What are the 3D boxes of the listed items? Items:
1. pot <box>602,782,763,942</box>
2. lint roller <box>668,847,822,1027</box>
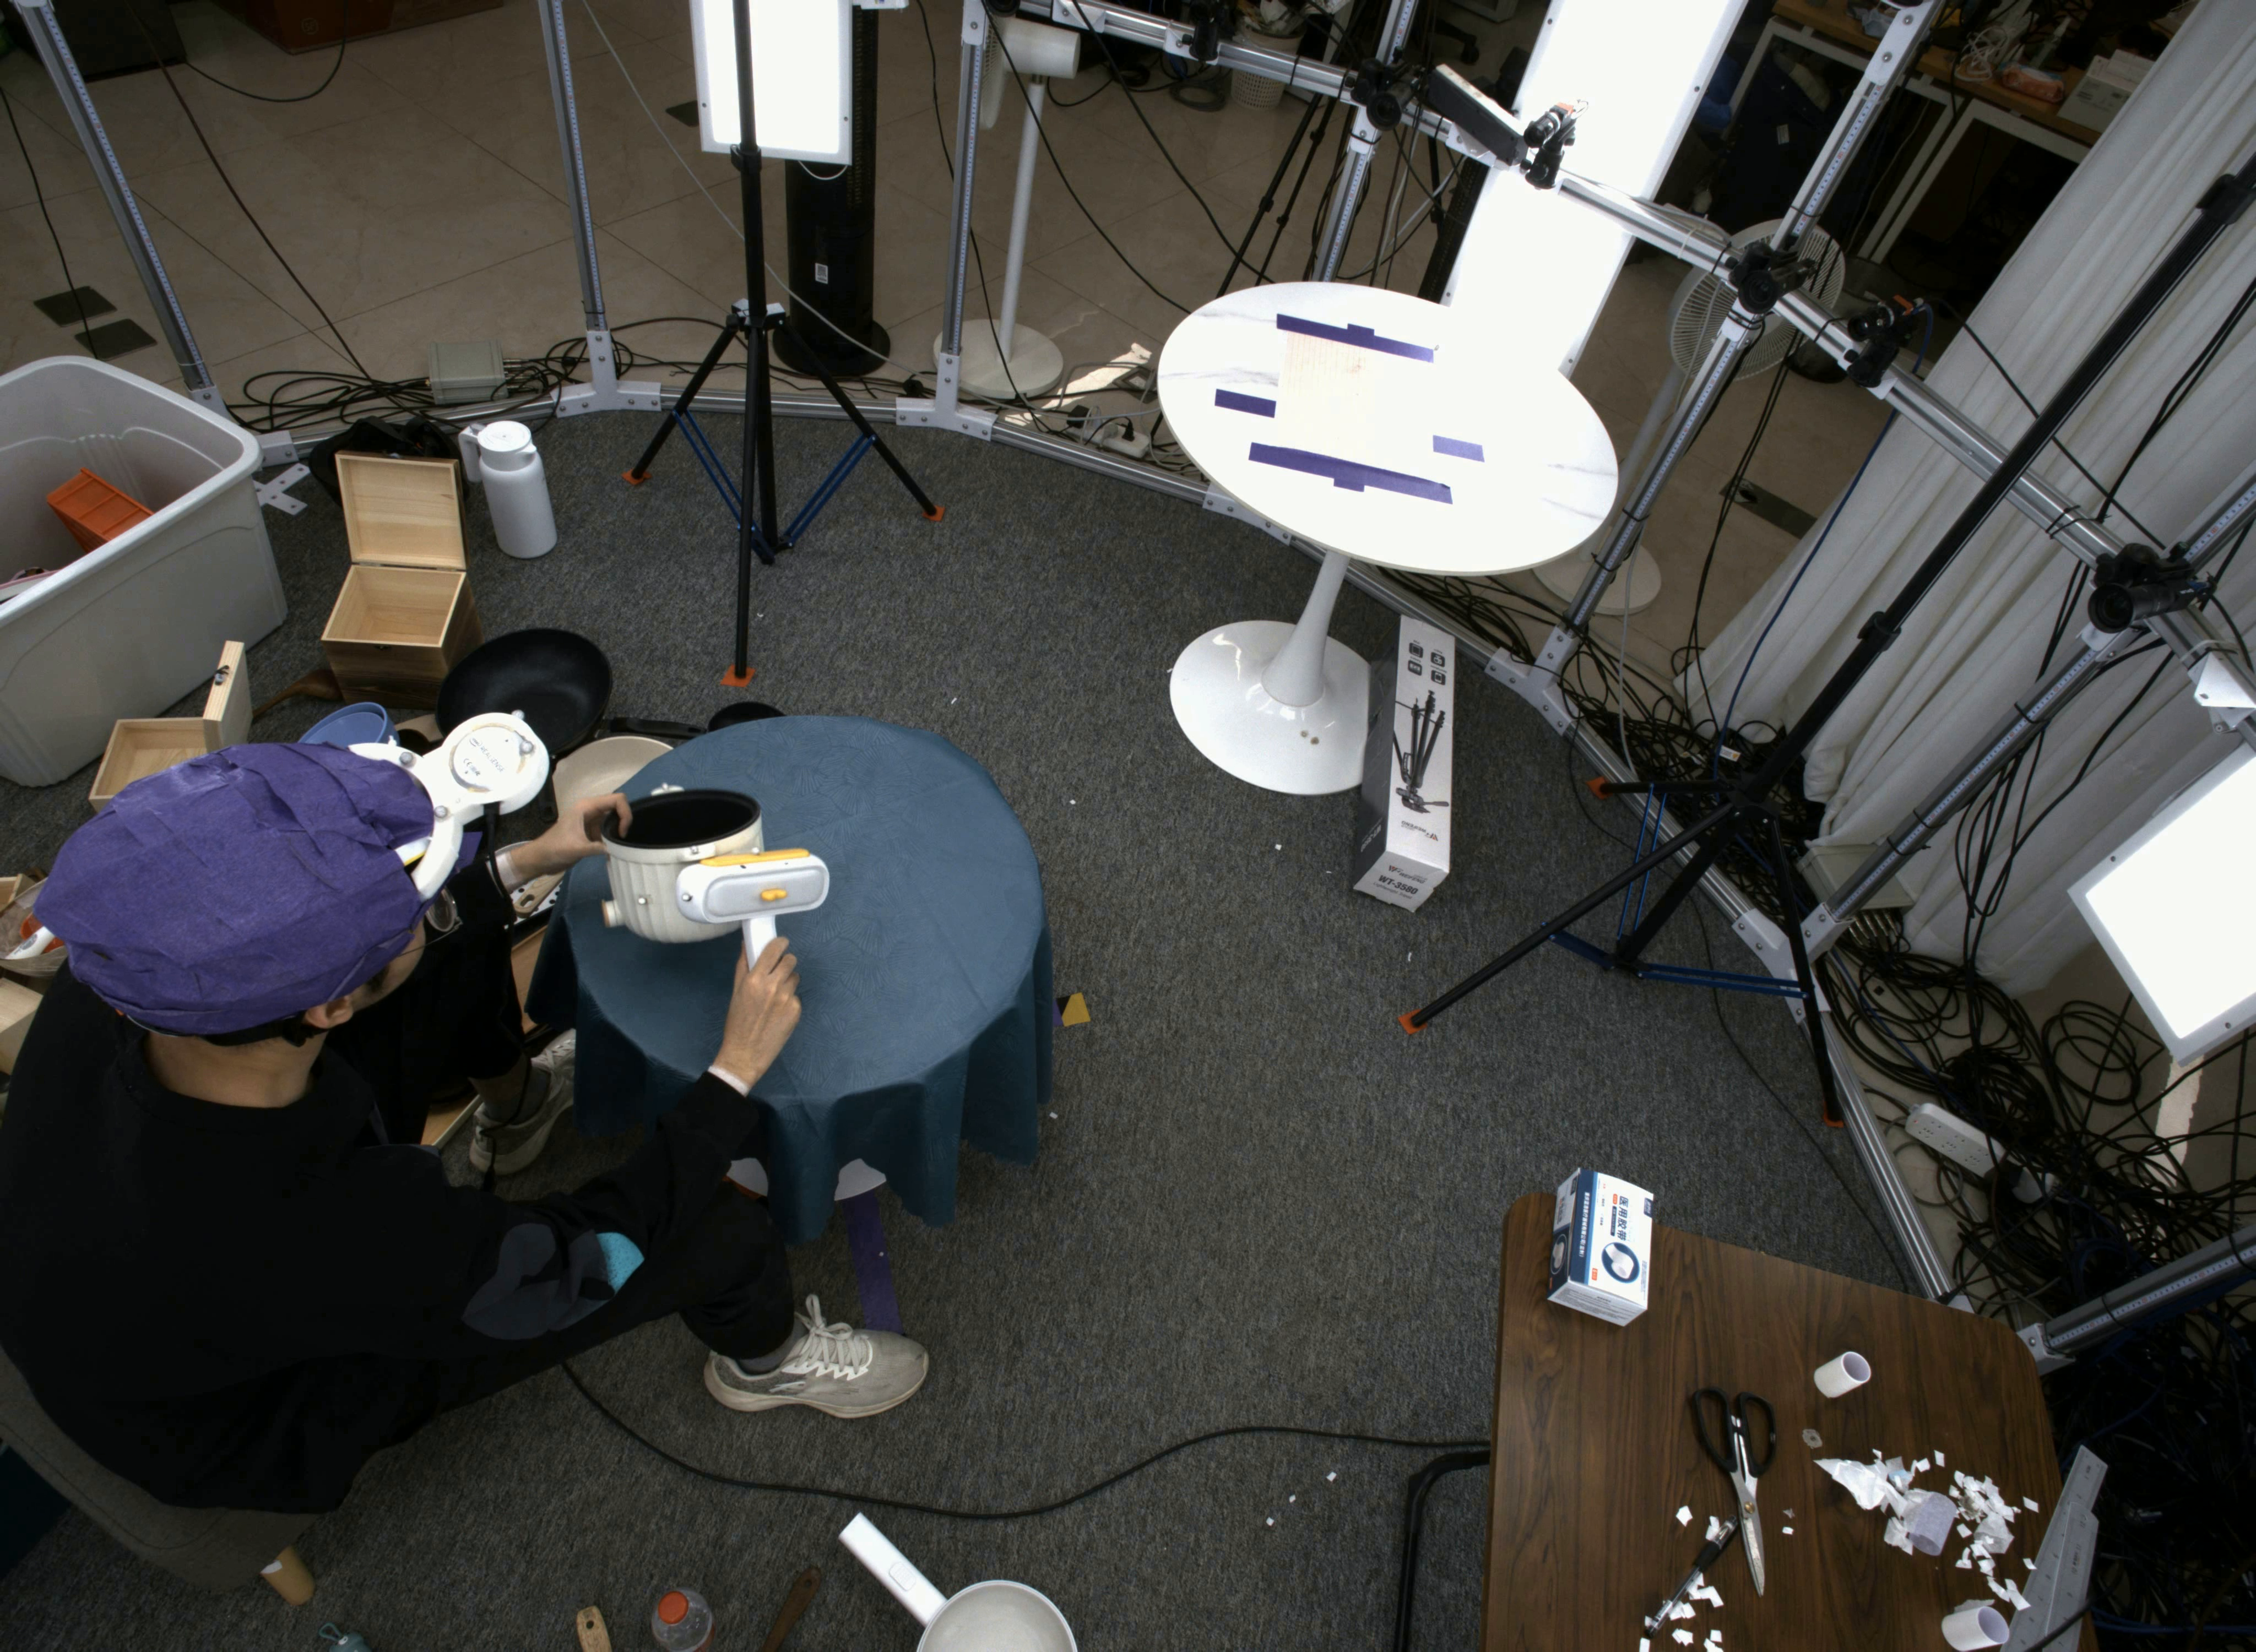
[{"bbox_3d":[-0.525,0.046,1.517,0.192,0.147,0.231,-10,25,-27],"label":"pot"},{"bbox_3d":[-0.421,0.127,1.466,0.072,0.196,0.195,3,9,32],"label":"lint roller"}]
